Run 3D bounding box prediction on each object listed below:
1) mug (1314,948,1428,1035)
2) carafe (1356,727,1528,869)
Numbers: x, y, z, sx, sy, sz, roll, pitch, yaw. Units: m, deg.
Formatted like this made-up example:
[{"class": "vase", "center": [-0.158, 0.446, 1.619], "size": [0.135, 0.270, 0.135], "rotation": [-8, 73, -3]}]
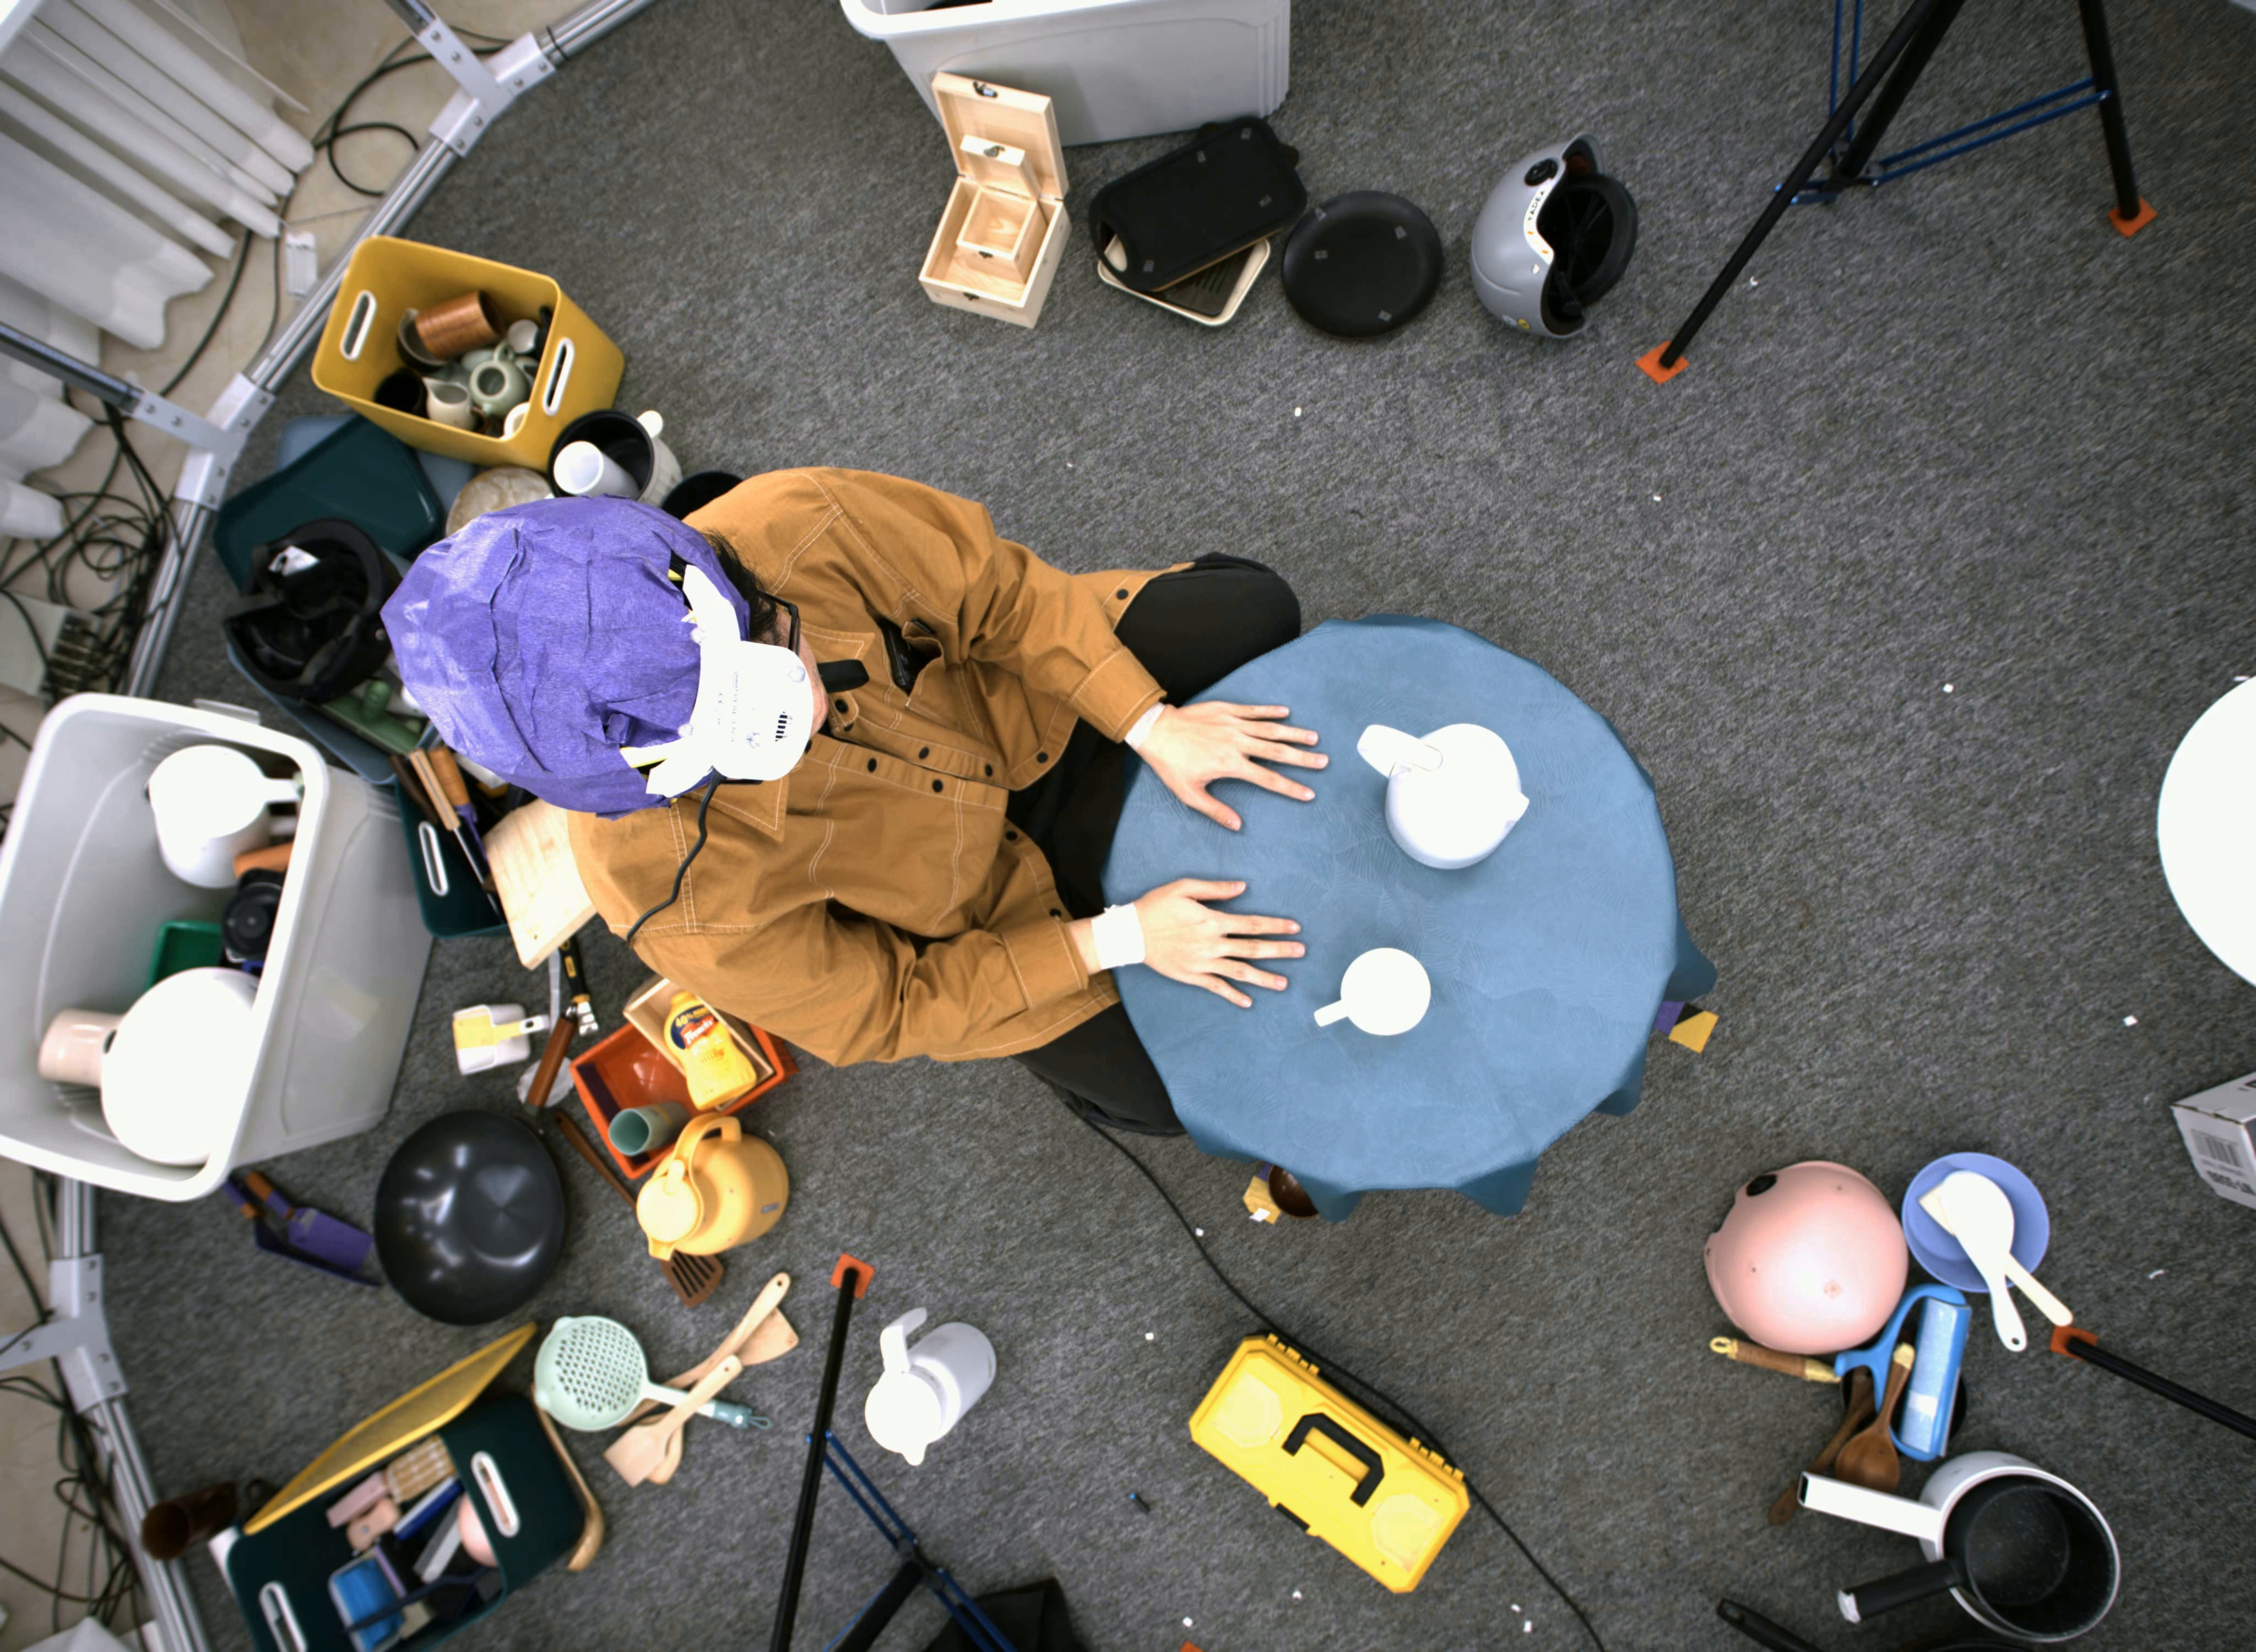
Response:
[{"class": "mug", "center": [0.247, 0.173, 1.409], "size": [0.119, 0.102, 0.084], "rotation": [-25, 81, 8]}, {"class": "carafe", "center": [0.299, -0.041, 1.335], "size": [0.167, 0.248, 0.133], "rotation": [28, 91, 12]}]
